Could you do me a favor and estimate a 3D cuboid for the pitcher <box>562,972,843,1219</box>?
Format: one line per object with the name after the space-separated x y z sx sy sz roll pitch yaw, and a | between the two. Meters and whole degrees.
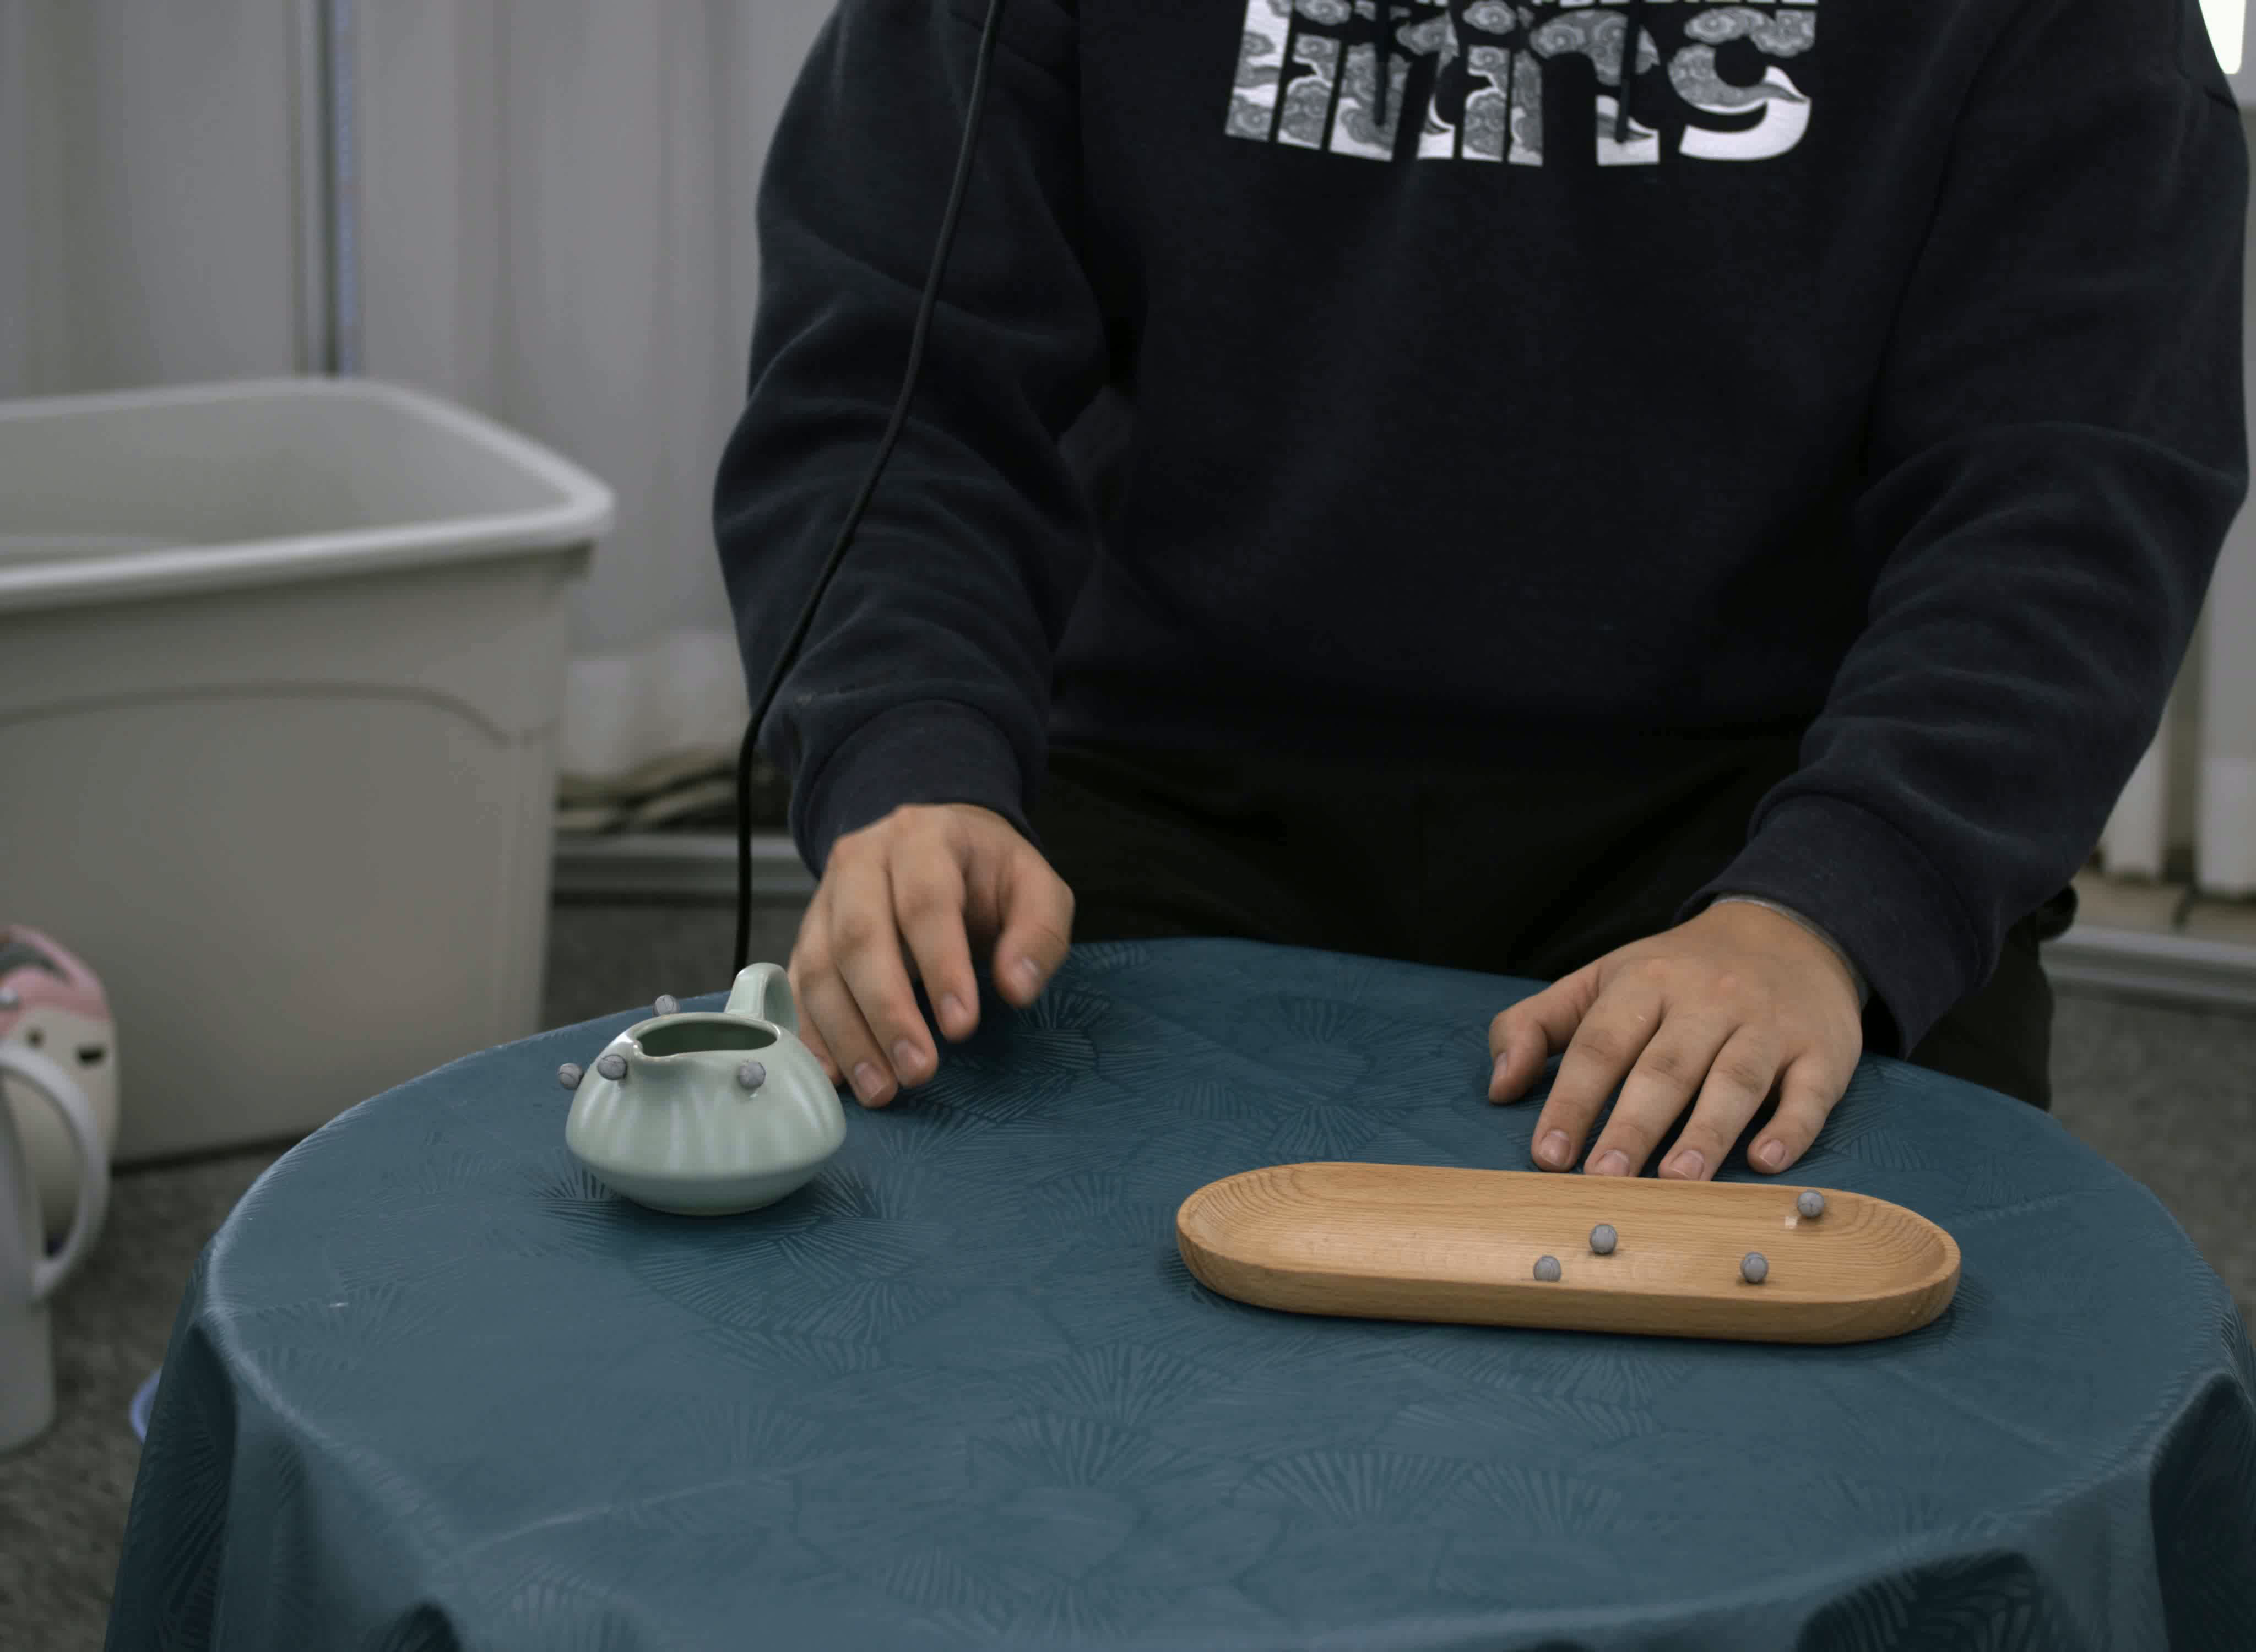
-0.127 0.083 1.622 0.085 0.061 0.108 6 14 15 | pitcher

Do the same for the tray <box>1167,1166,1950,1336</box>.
0.126 0.125 1.556 0.230 0.020 0.101 1 14 7 | tray
